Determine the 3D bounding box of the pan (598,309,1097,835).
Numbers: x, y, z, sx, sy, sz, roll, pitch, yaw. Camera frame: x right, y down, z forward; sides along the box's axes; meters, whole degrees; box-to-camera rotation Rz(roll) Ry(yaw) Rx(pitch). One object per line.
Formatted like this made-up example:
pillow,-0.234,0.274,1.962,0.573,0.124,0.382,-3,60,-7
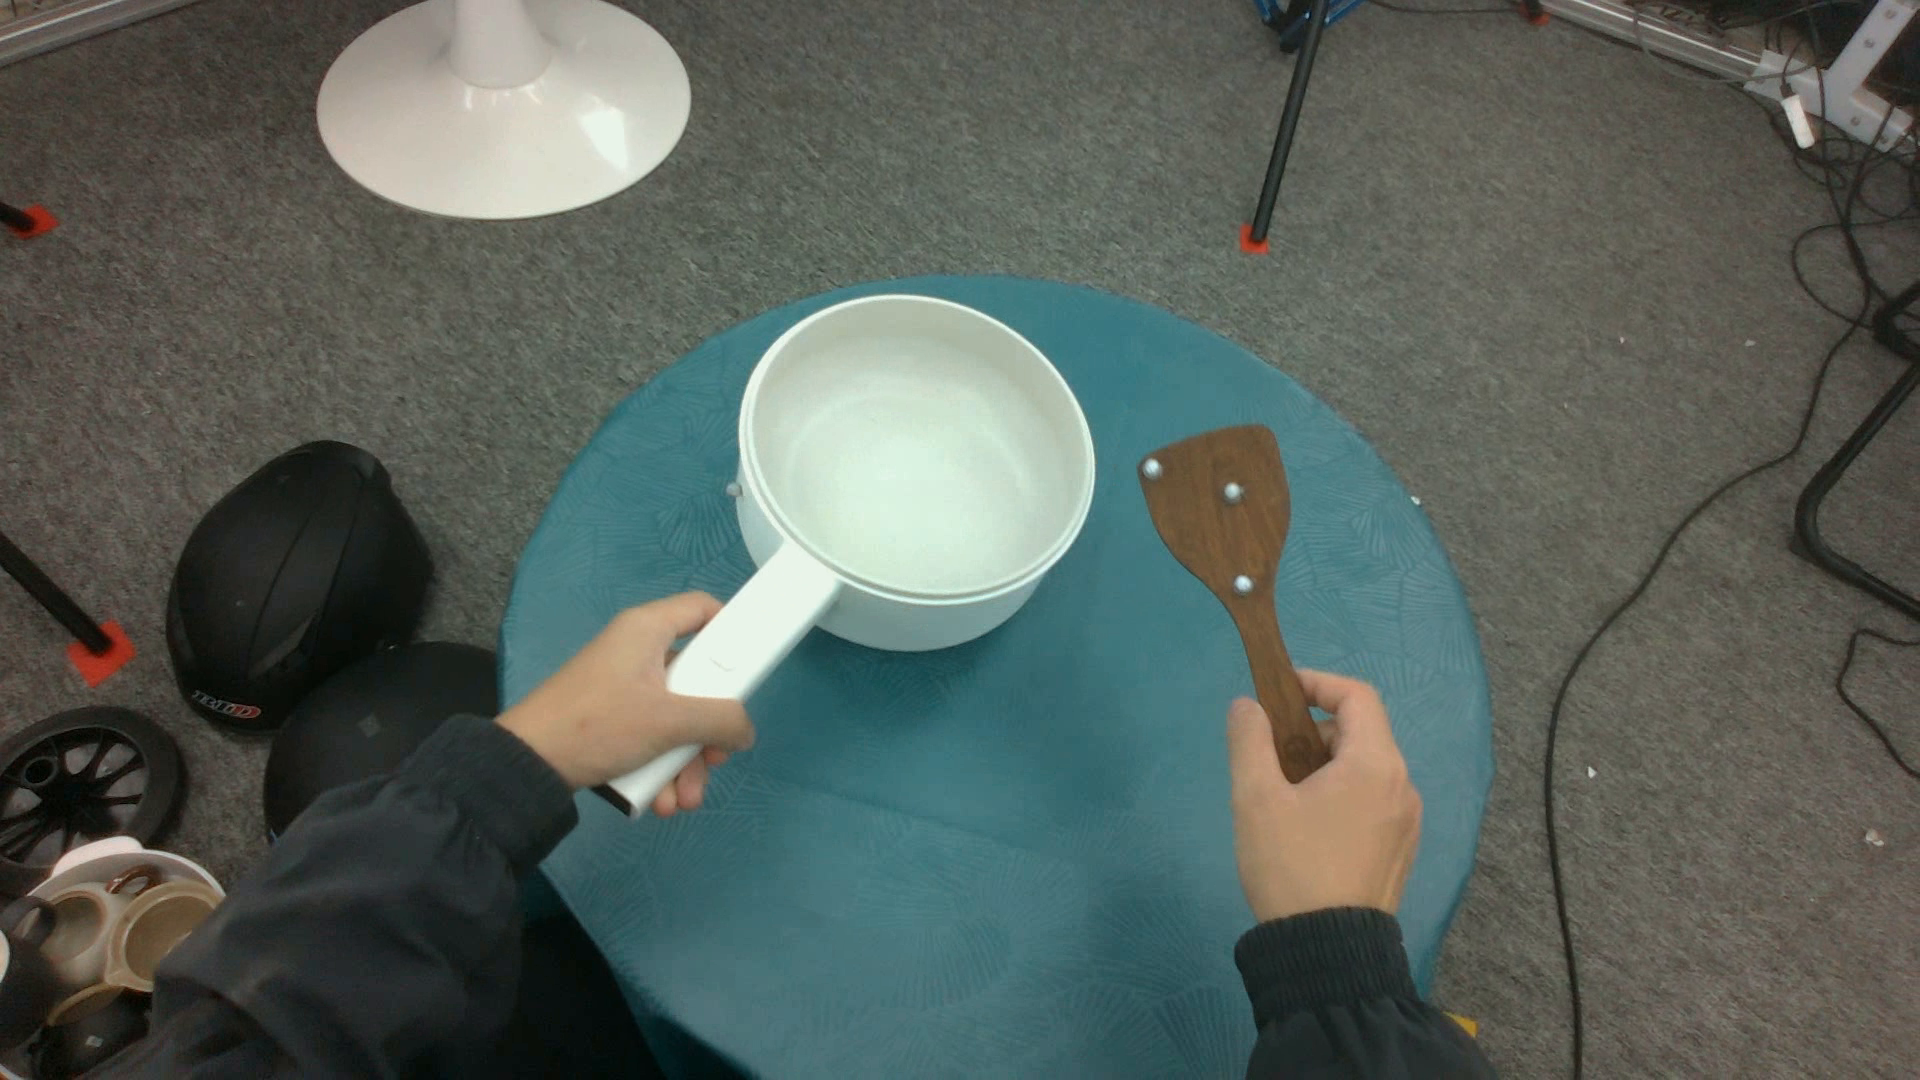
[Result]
pan,-0.068,0.025,0.780,0.201,0.101,0.356,33,61,8

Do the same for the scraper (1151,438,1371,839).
scraper,0.160,0.047,0.698,0.076,0.011,0.212,-17,67,4
